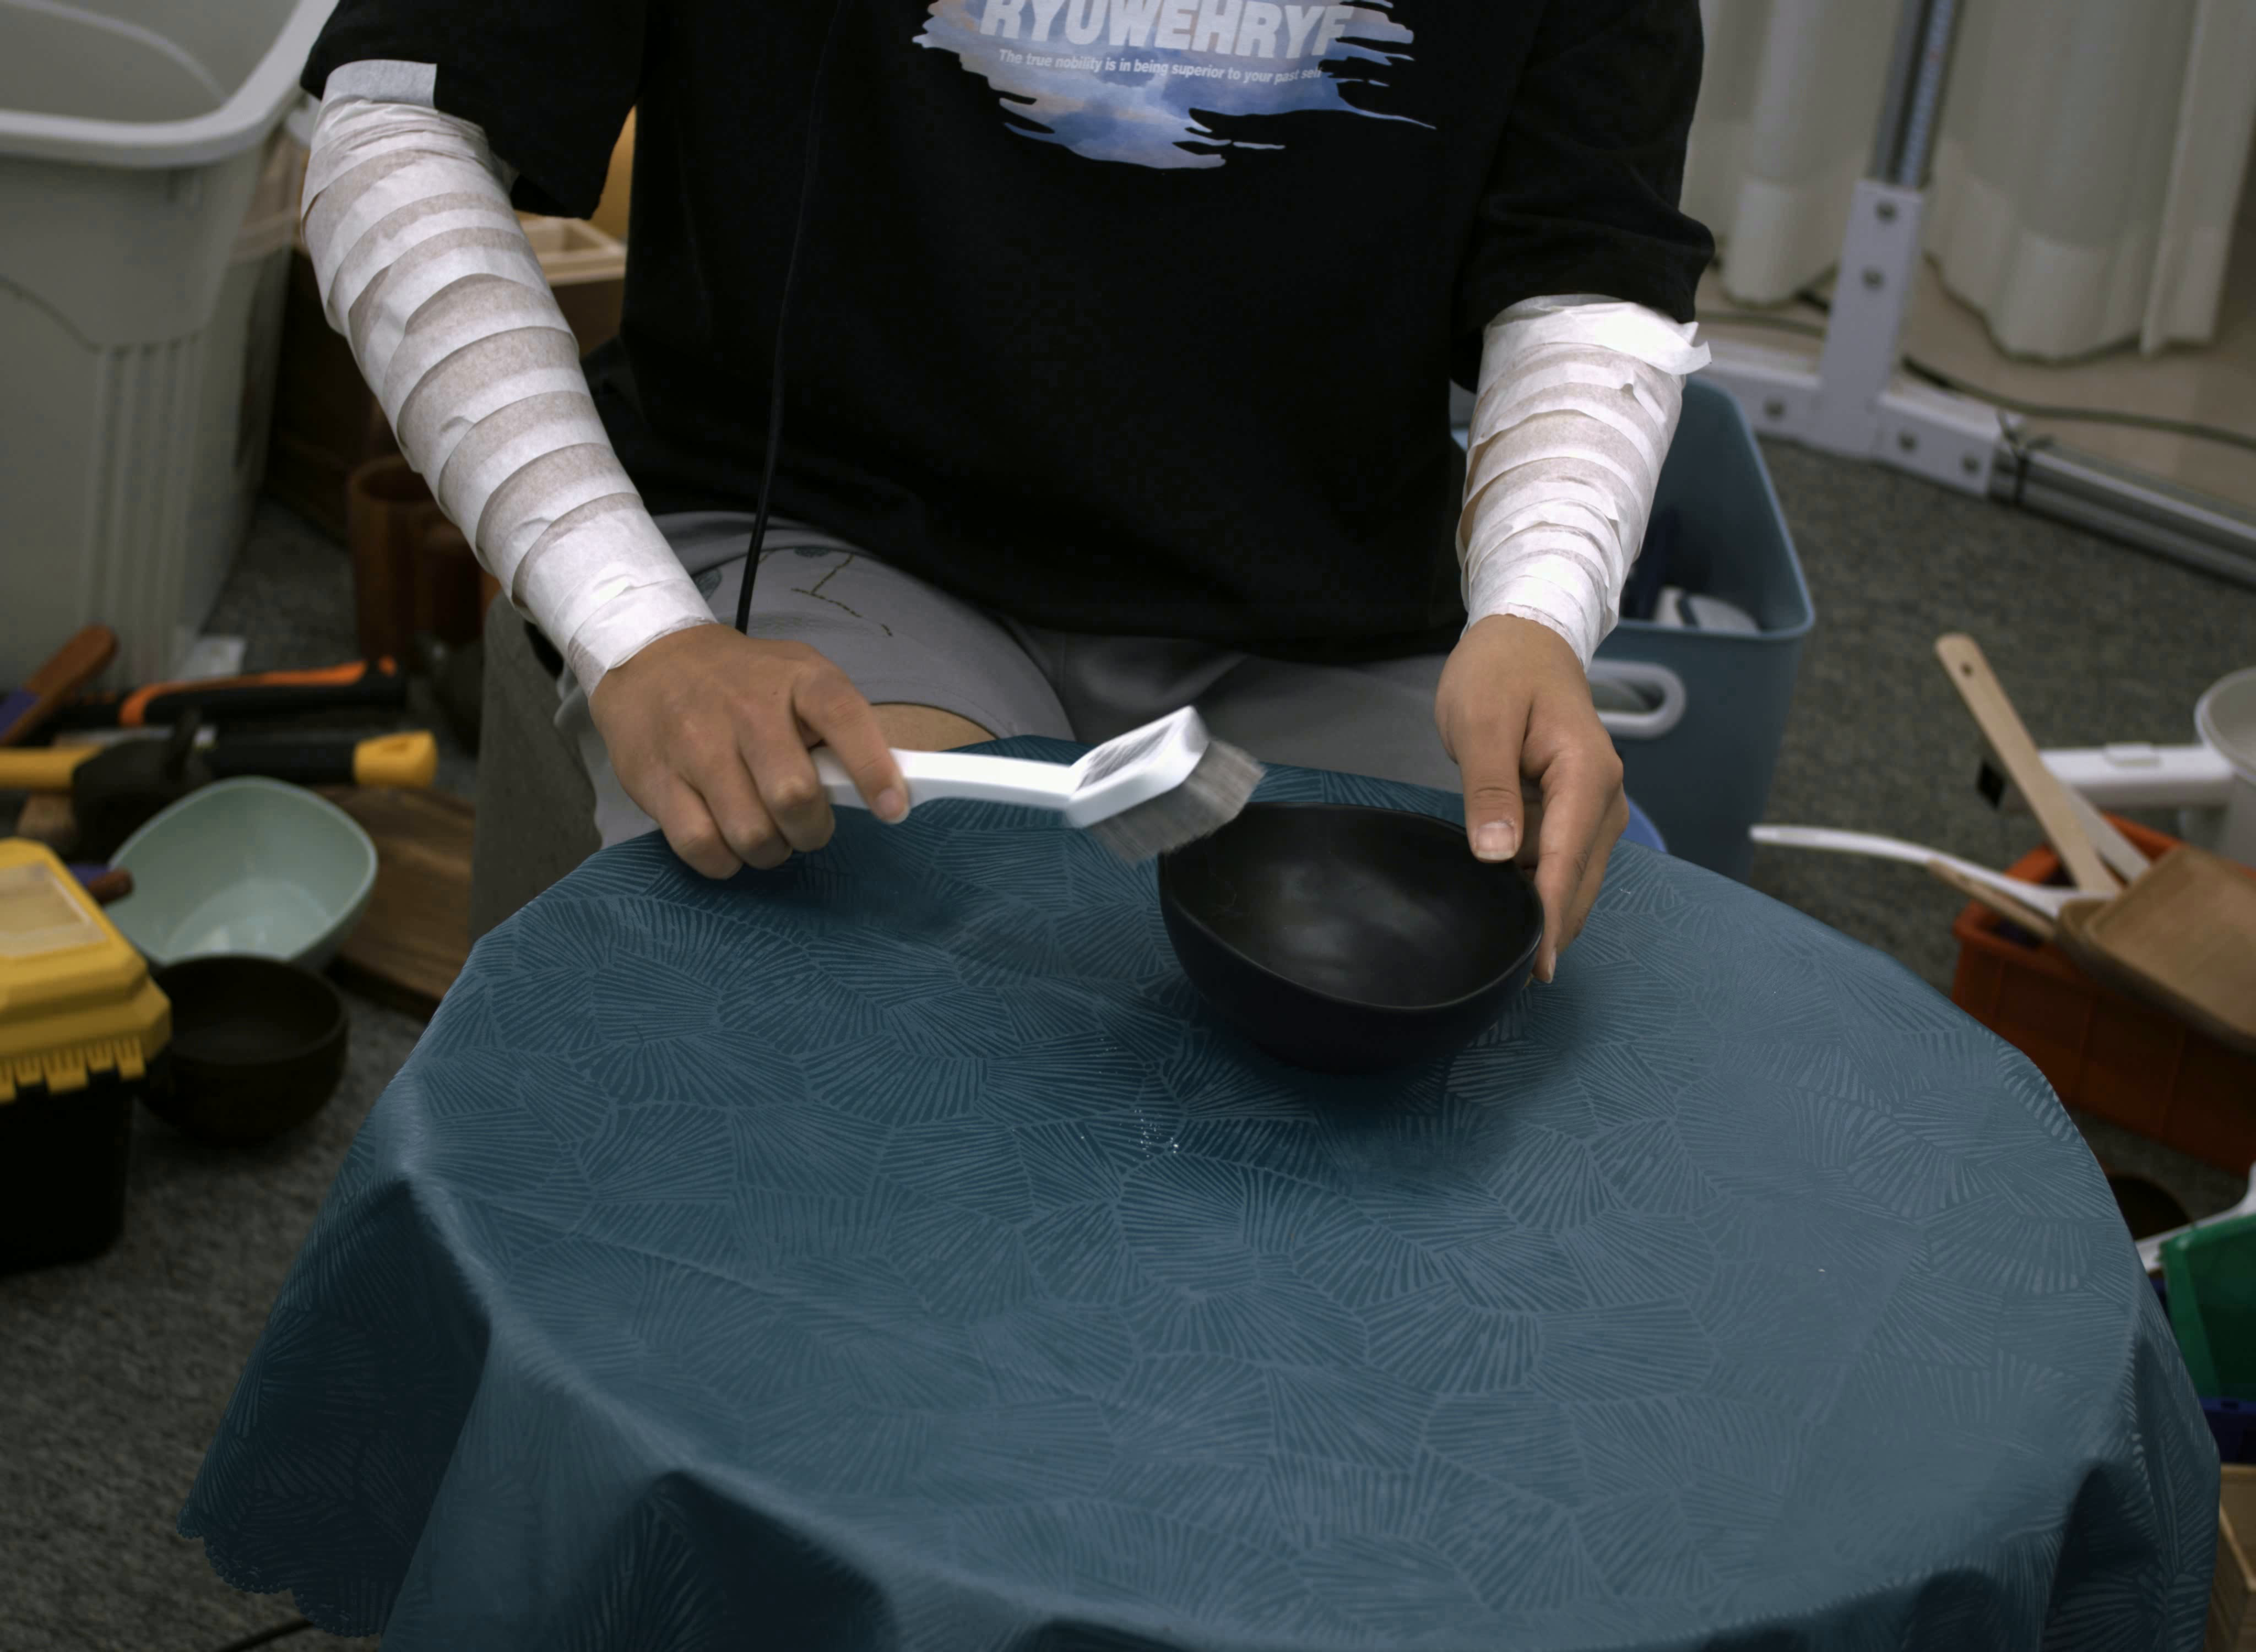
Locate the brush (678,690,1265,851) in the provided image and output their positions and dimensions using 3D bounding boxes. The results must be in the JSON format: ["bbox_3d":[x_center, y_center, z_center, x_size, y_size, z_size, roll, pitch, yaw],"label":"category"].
[{"bbox_3d":[-0.058,-0.009,1.938,0.244,0.050,0.034,-8,39,34],"label":"brush"}]

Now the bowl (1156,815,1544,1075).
[{"bbox_3d":[0.075,0.046,1.904,0.136,0.066,0.171,0,25,-12],"label":"bowl"}]
